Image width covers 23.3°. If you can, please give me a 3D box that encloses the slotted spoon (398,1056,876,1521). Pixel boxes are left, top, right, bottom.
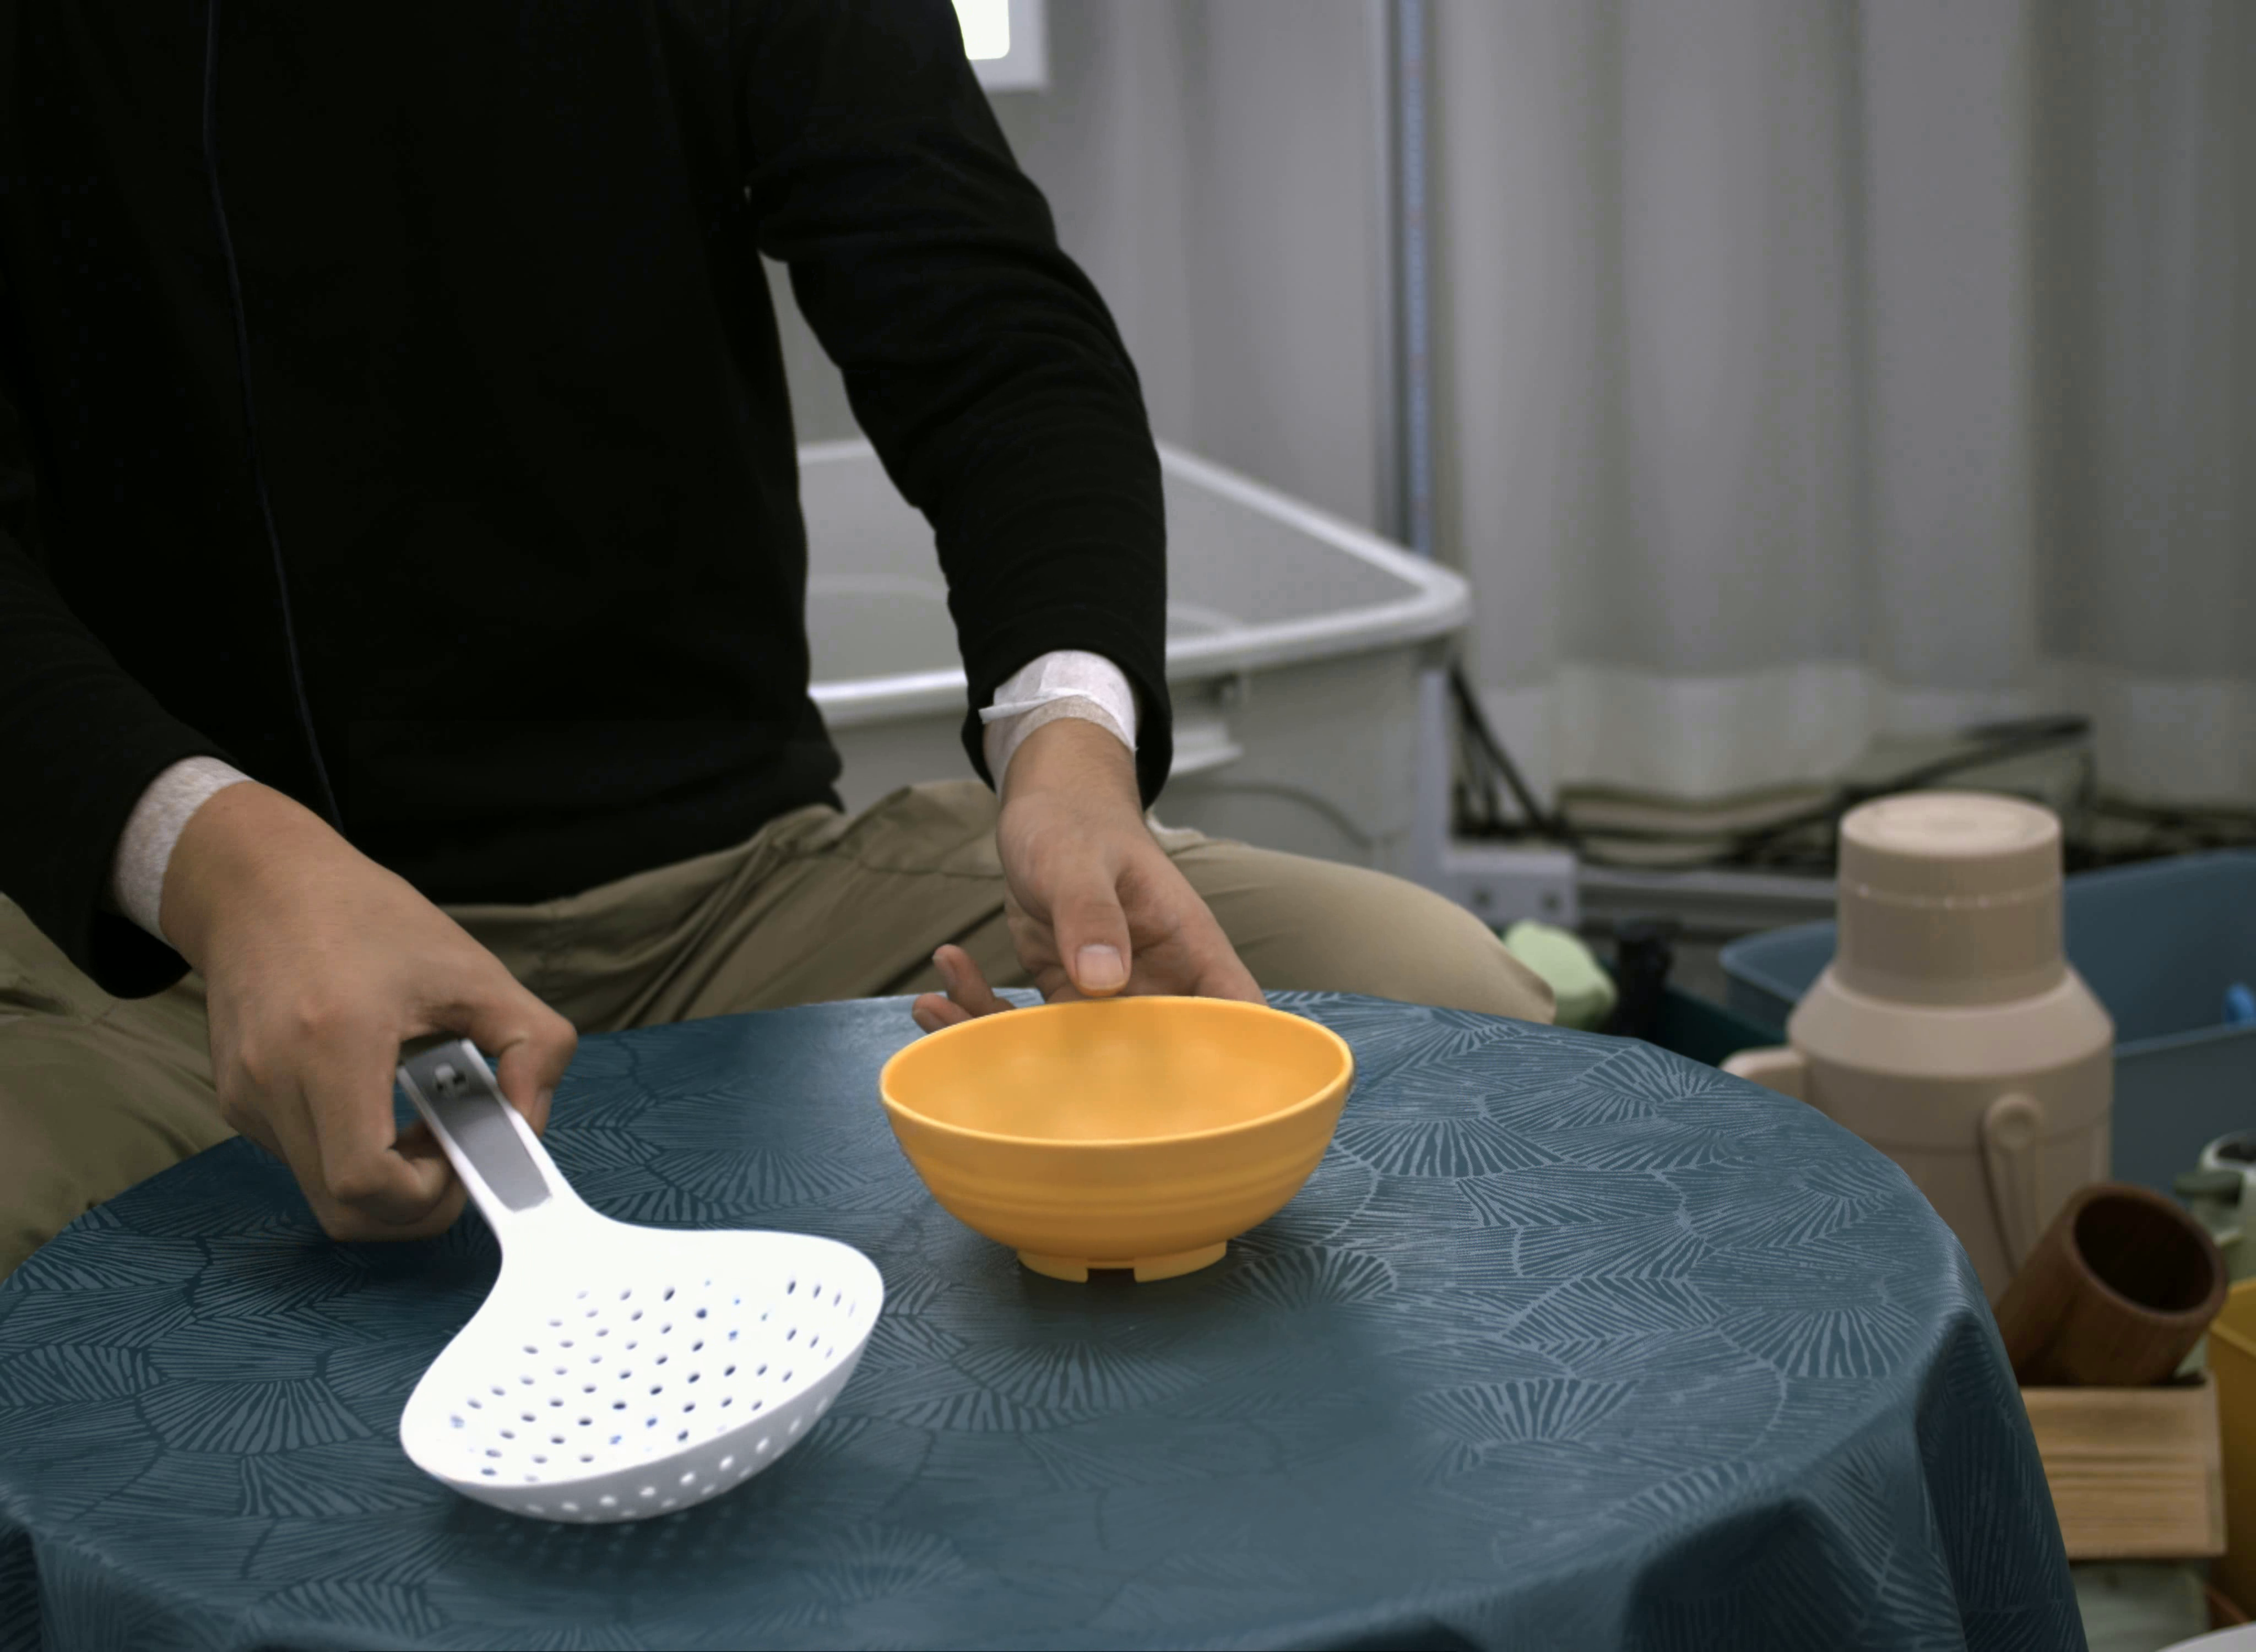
[{"bbox_3d":[-0.165,0.124,1.577,0.136,0.045,0.353,-22,24,-13],"label":"slotted spoon"}]

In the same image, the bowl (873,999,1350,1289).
[{"bbox_3d":[-0.005,0.102,1.656,0.145,0.060,0.146,-1,15,0],"label":"bowl"}]
